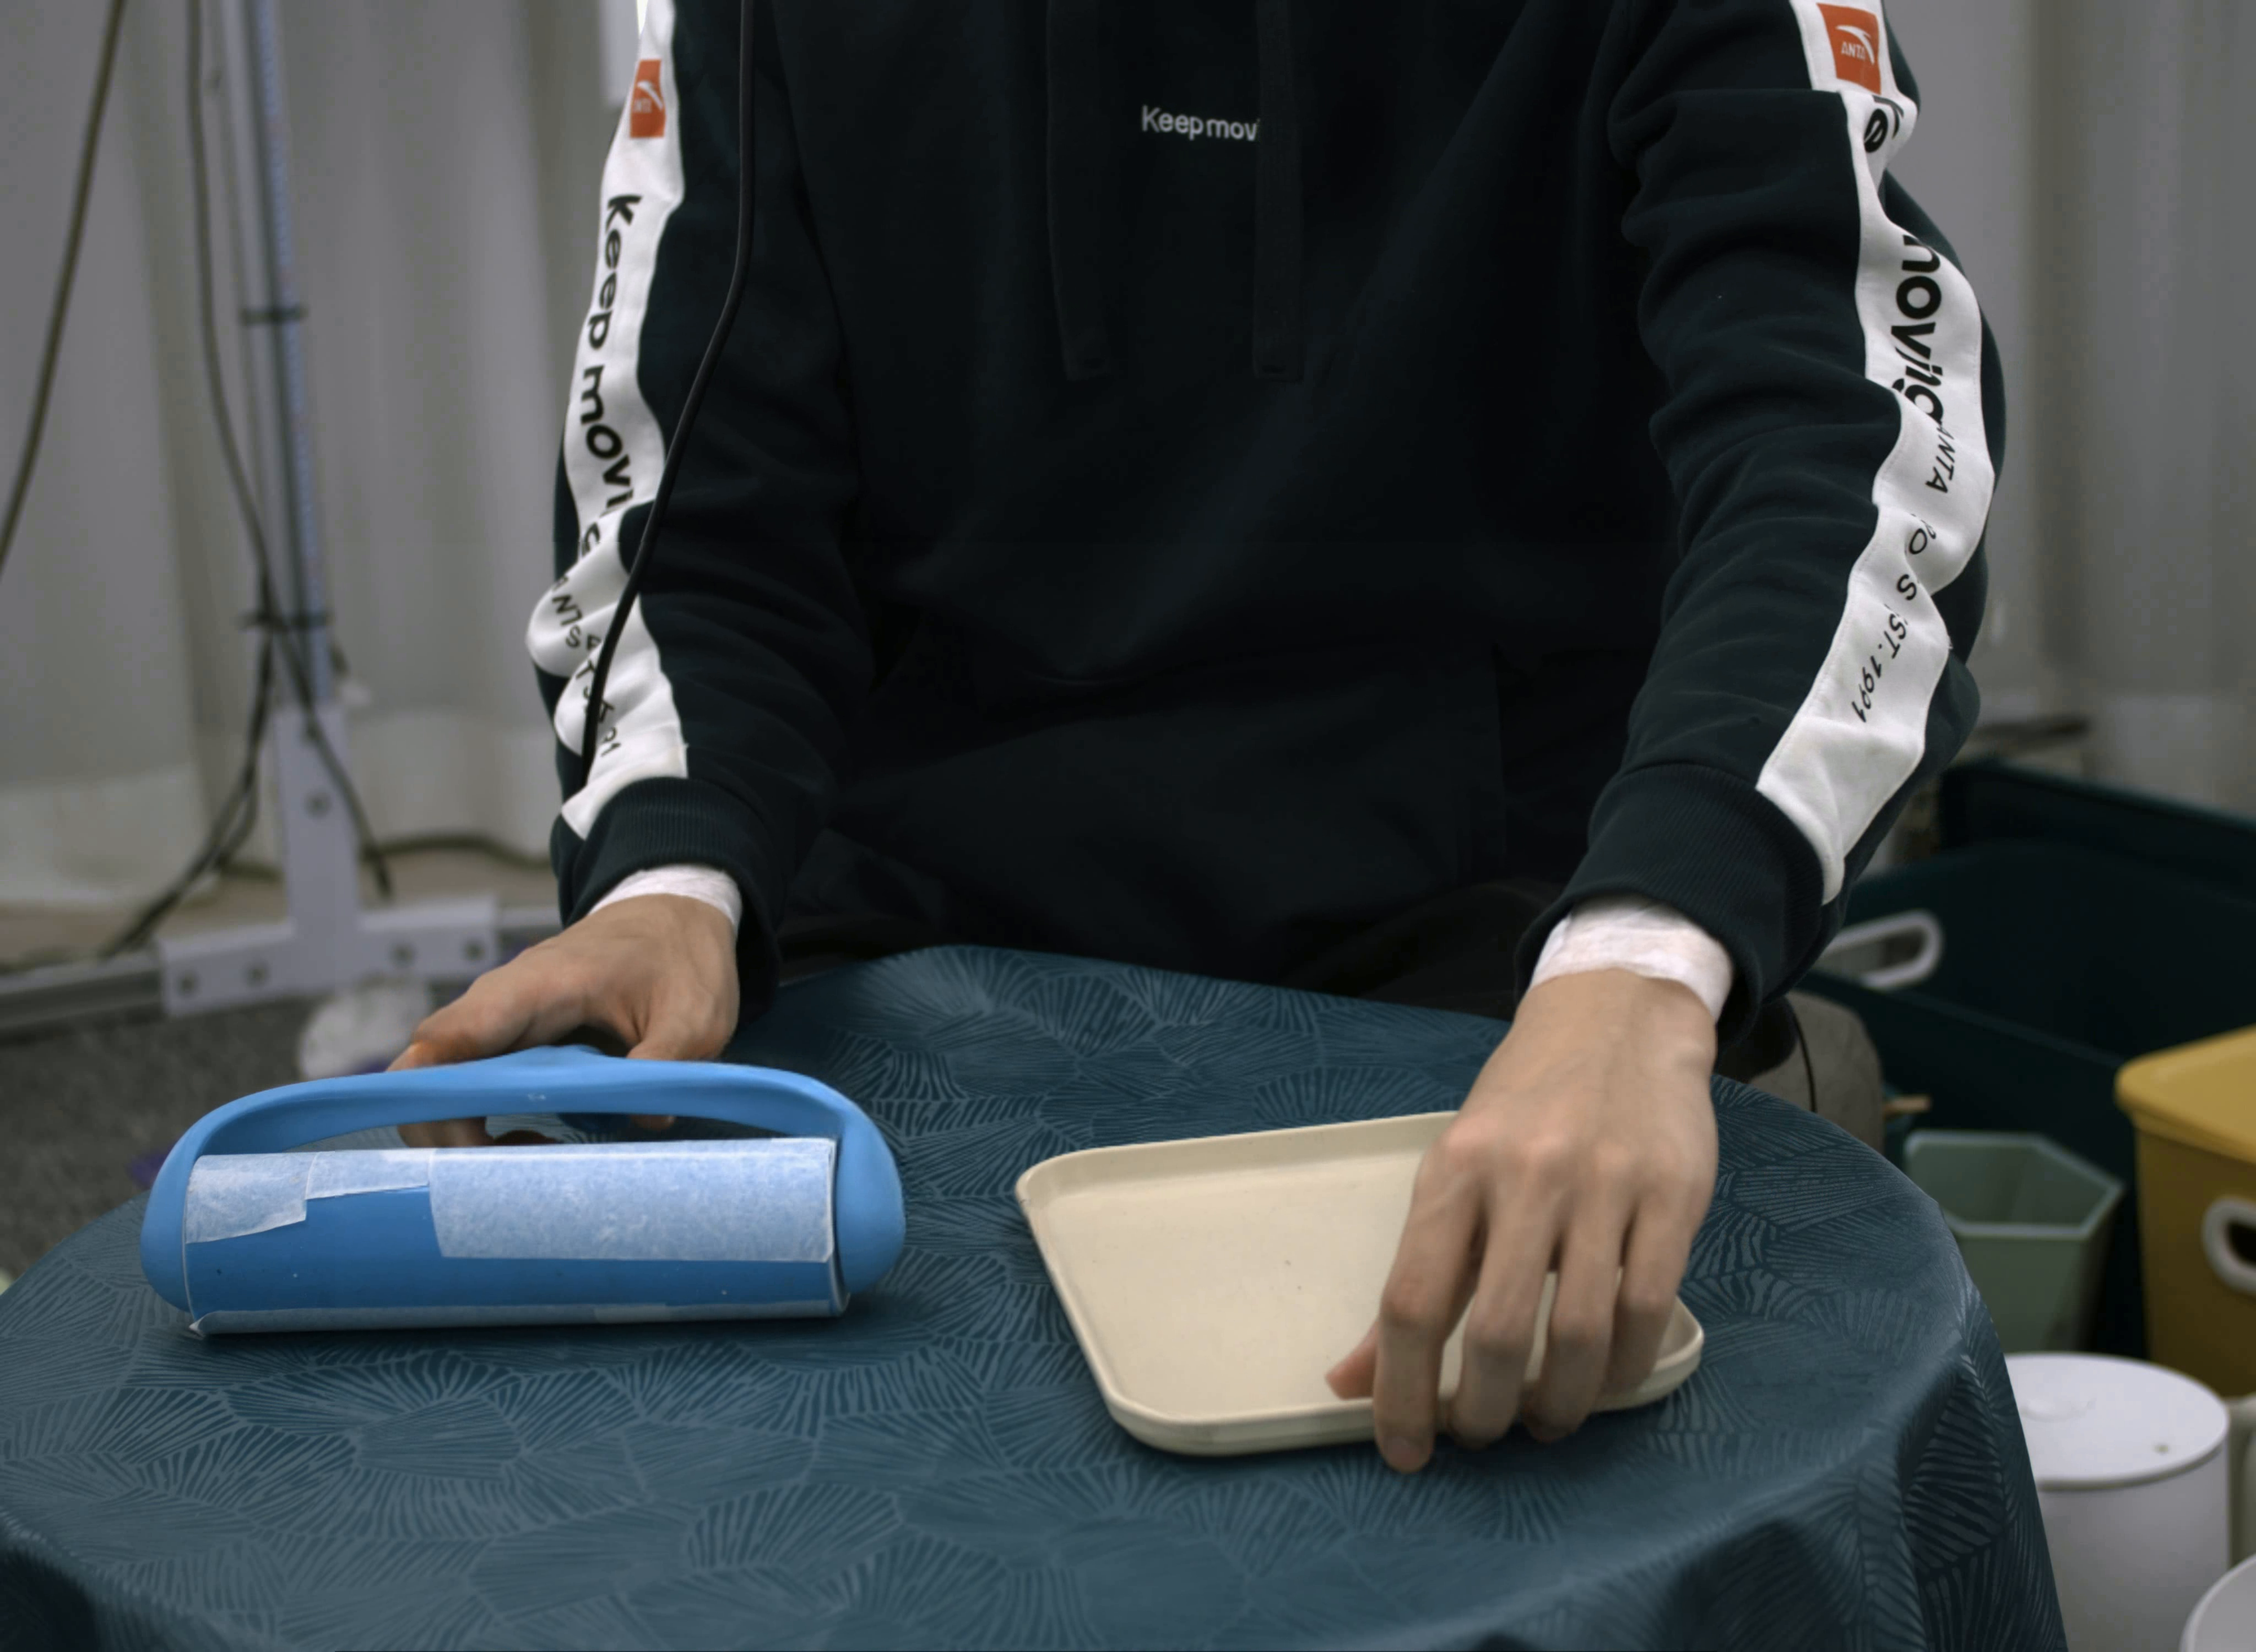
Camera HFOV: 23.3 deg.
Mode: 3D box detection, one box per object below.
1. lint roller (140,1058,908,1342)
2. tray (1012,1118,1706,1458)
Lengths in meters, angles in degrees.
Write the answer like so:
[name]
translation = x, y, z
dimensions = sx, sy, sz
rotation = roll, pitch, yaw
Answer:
[lint roller]
translation = -0.179, 0.102, 1.676
dimensions = 0.228, 0.067, 0.182
rotation = -4, 19, 2
[tray]
translation = 0.063, 0.134, 1.598
dimensions = 0.170, 0.017, 0.241
rotation = -4, 15, -8
